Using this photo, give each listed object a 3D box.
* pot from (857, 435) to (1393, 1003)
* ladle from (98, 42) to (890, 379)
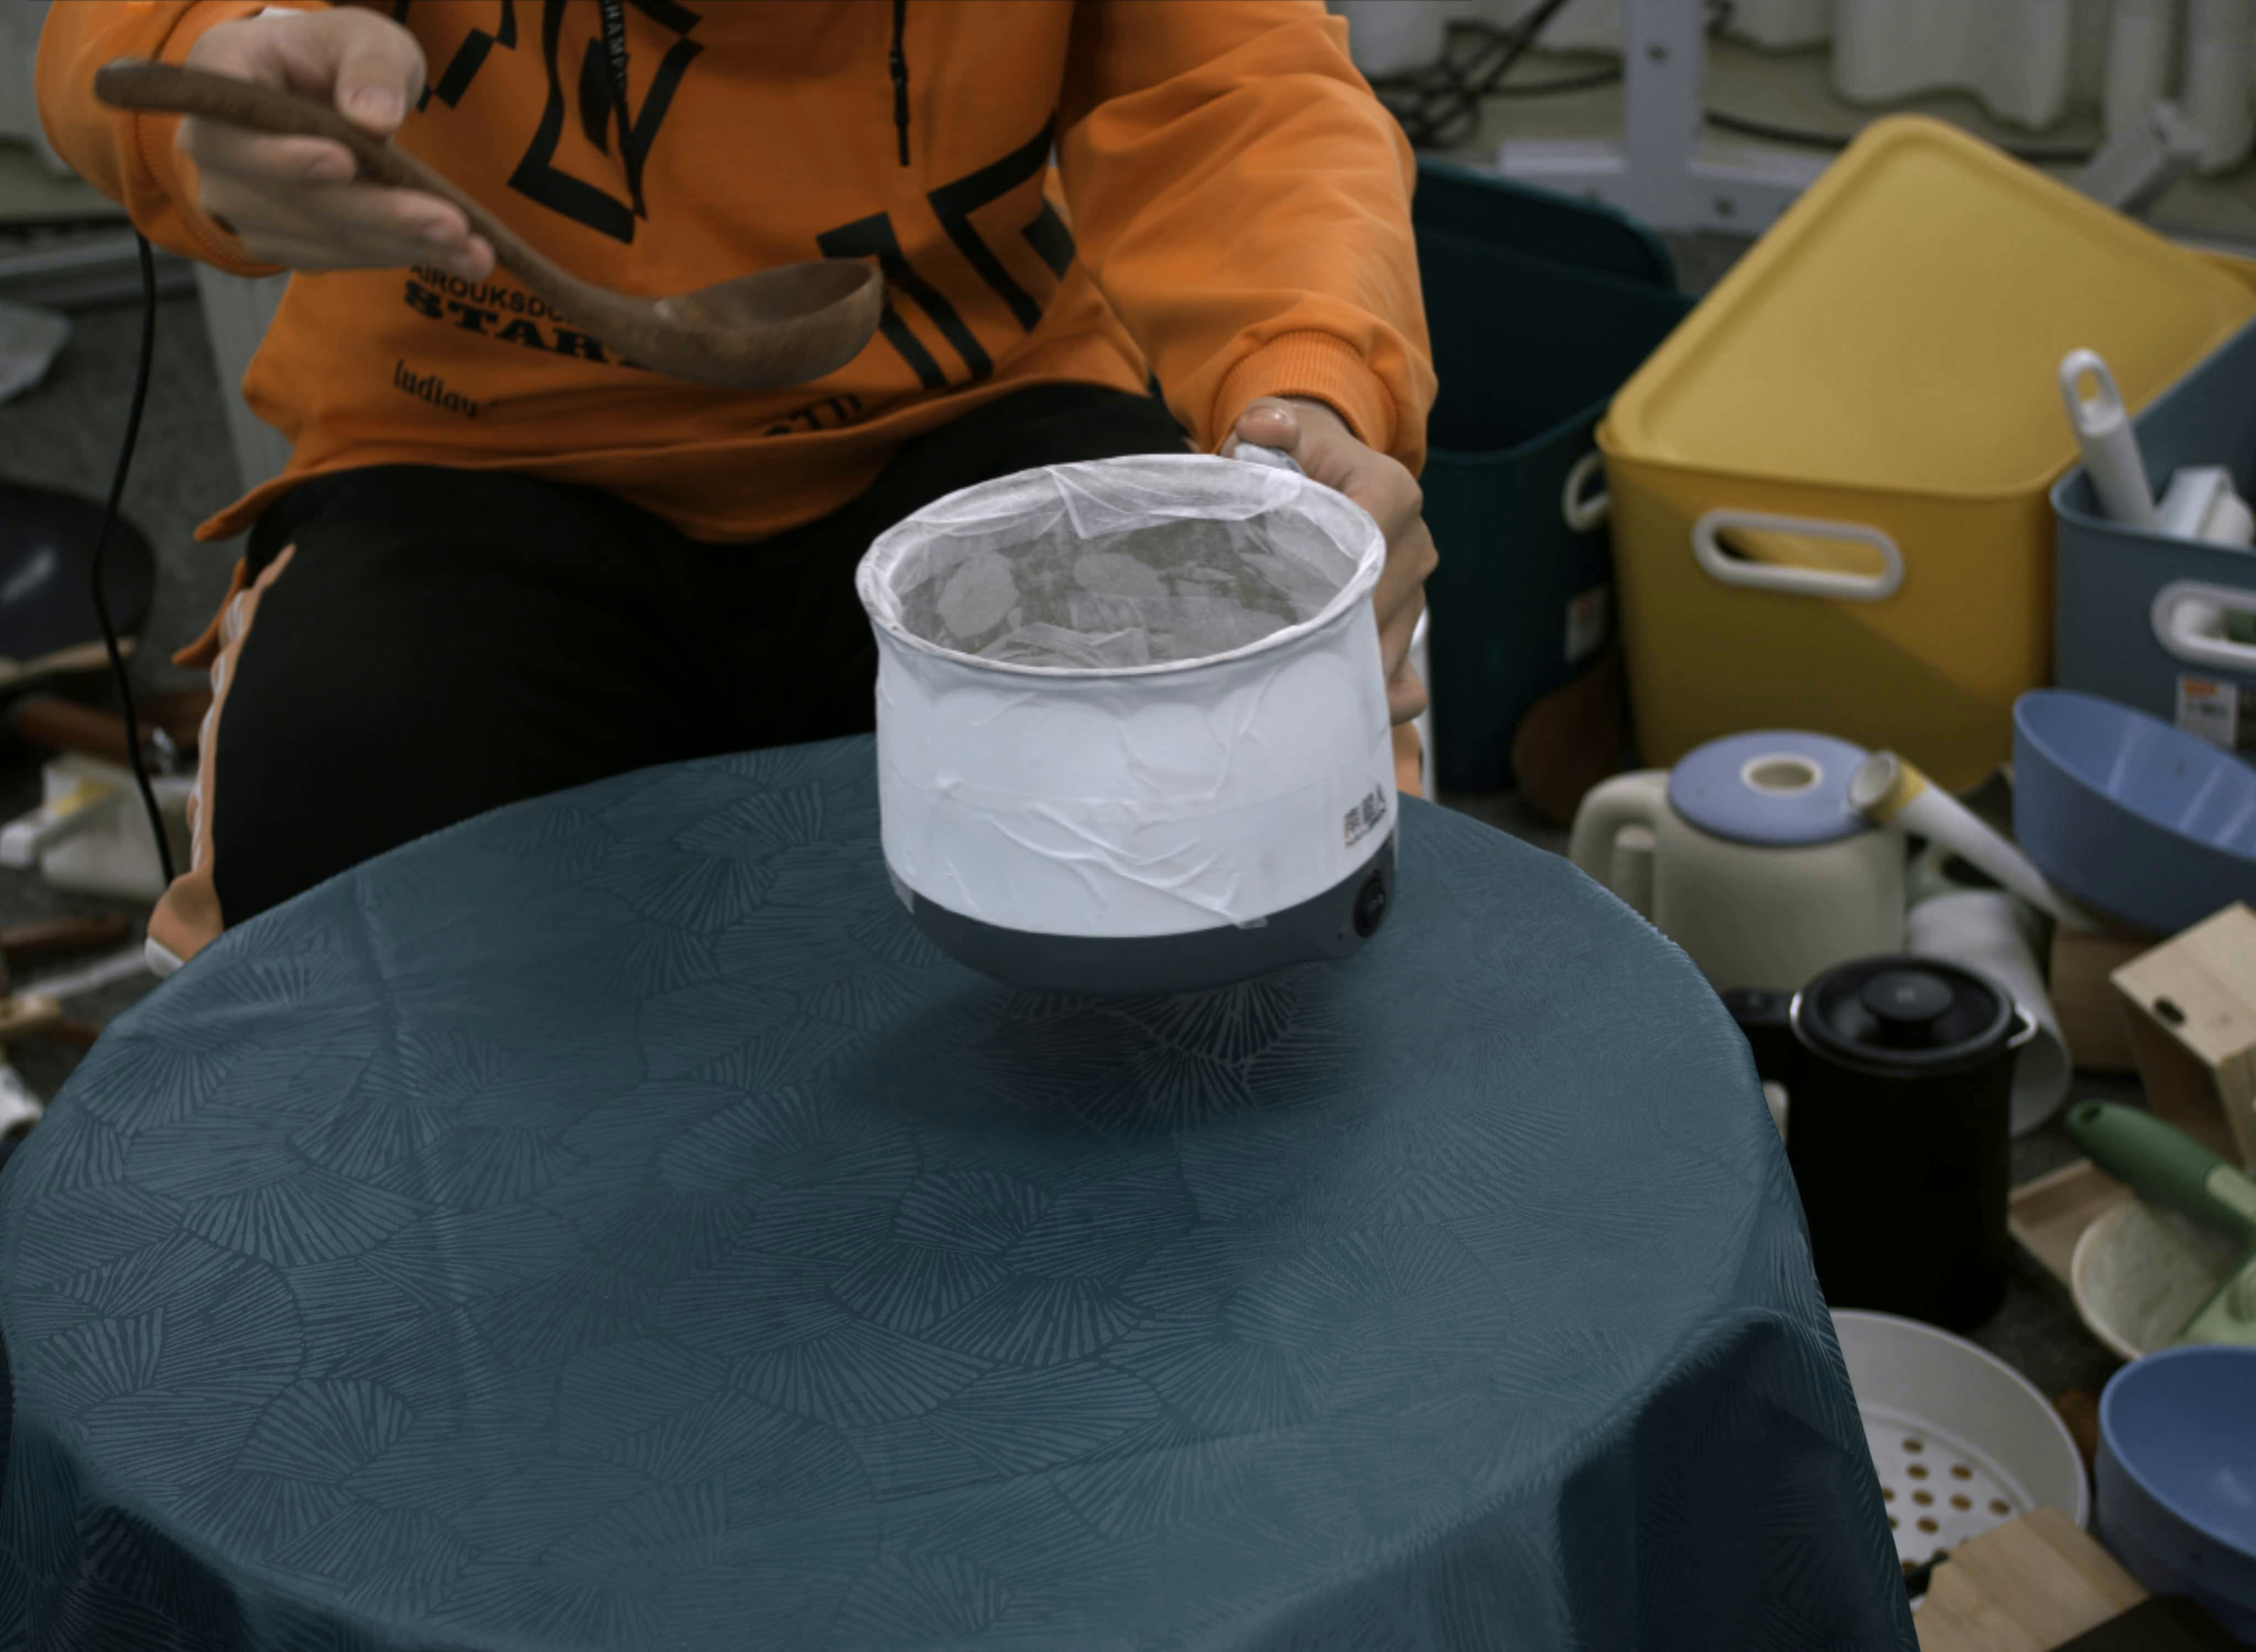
[{"bbox_3d":[0.013,-0.044,1.925,0.177,0.135,0.237,10,29,25],"label":"pot"},{"bbox_3d":[-0.197,-0.207,1.789,0.259,0.065,0.076,26,3,-19],"label":"ladle"}]
